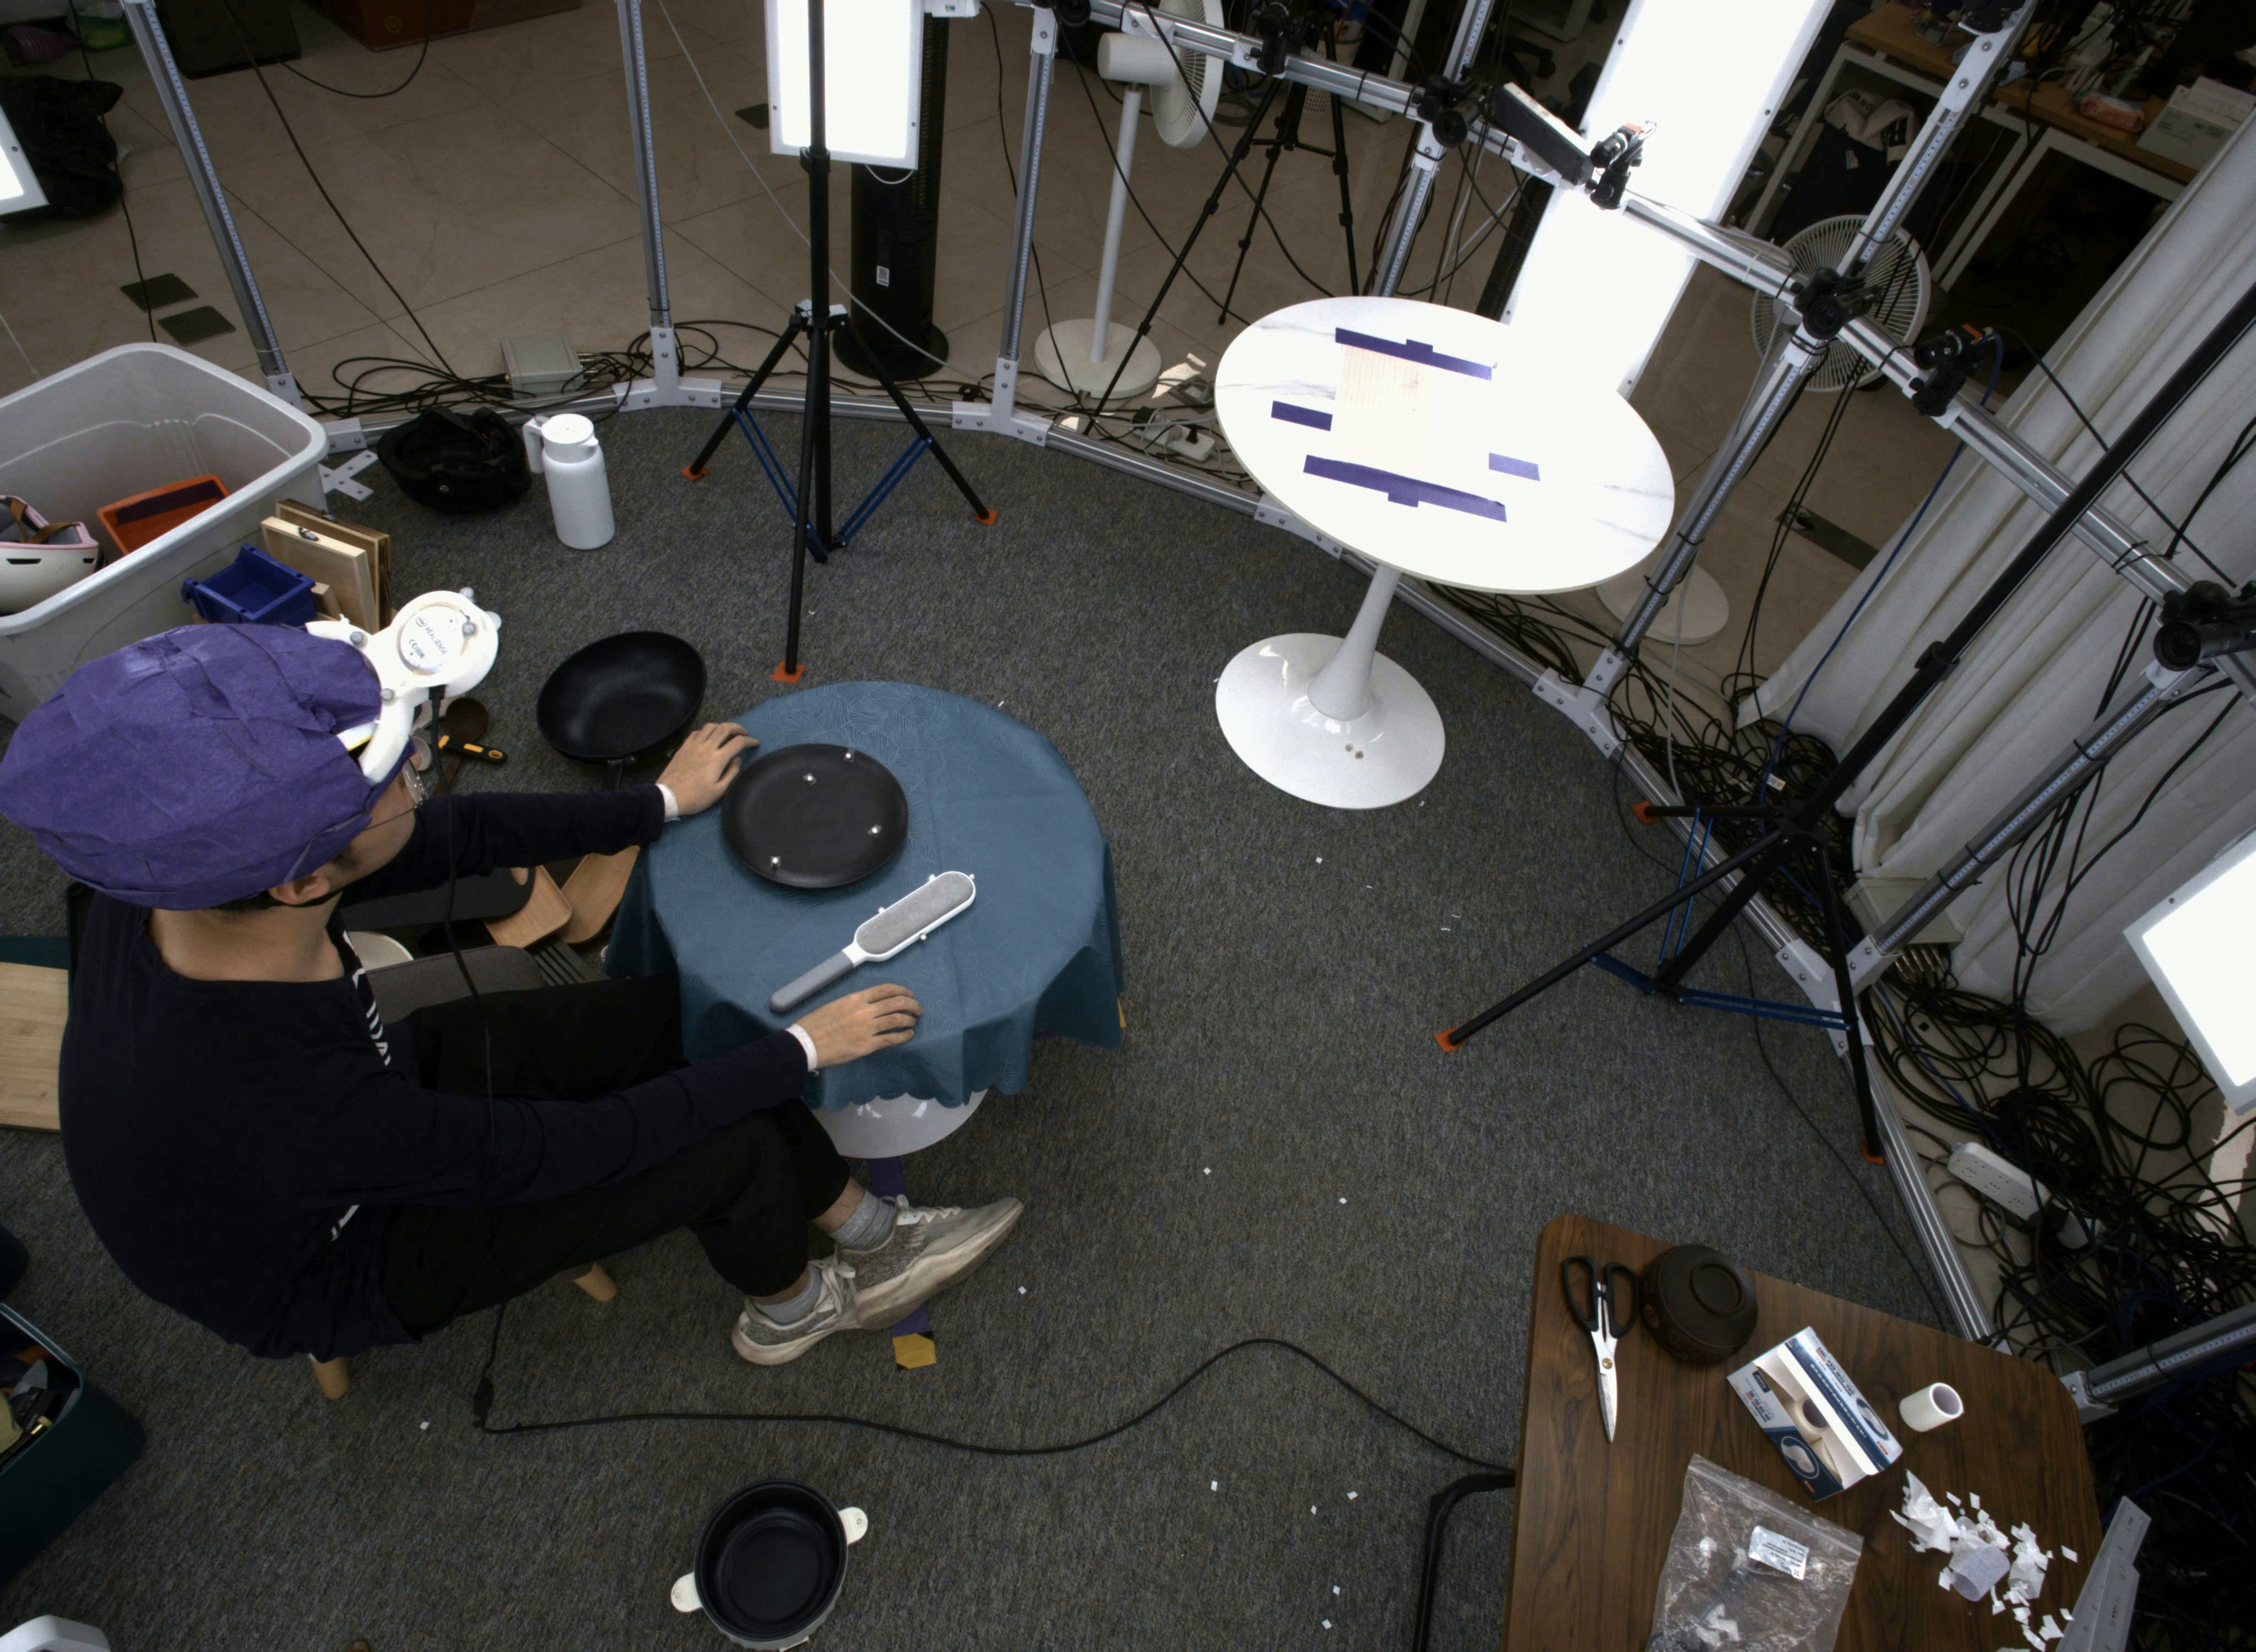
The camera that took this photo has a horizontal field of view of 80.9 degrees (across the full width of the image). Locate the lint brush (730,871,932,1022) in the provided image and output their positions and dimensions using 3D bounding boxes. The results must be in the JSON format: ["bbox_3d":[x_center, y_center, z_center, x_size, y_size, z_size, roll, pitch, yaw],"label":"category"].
[{"bbox_3d":[-0.369,0.146,1.624,0.059,0.021,0.309,45,56,13],"label":"lint brush"}]

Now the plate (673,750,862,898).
[{"bbox_3d":[-0.475,-0.002,1.708,0.244,0.024,0.240,8,52,-9],"label":"plate"}]
